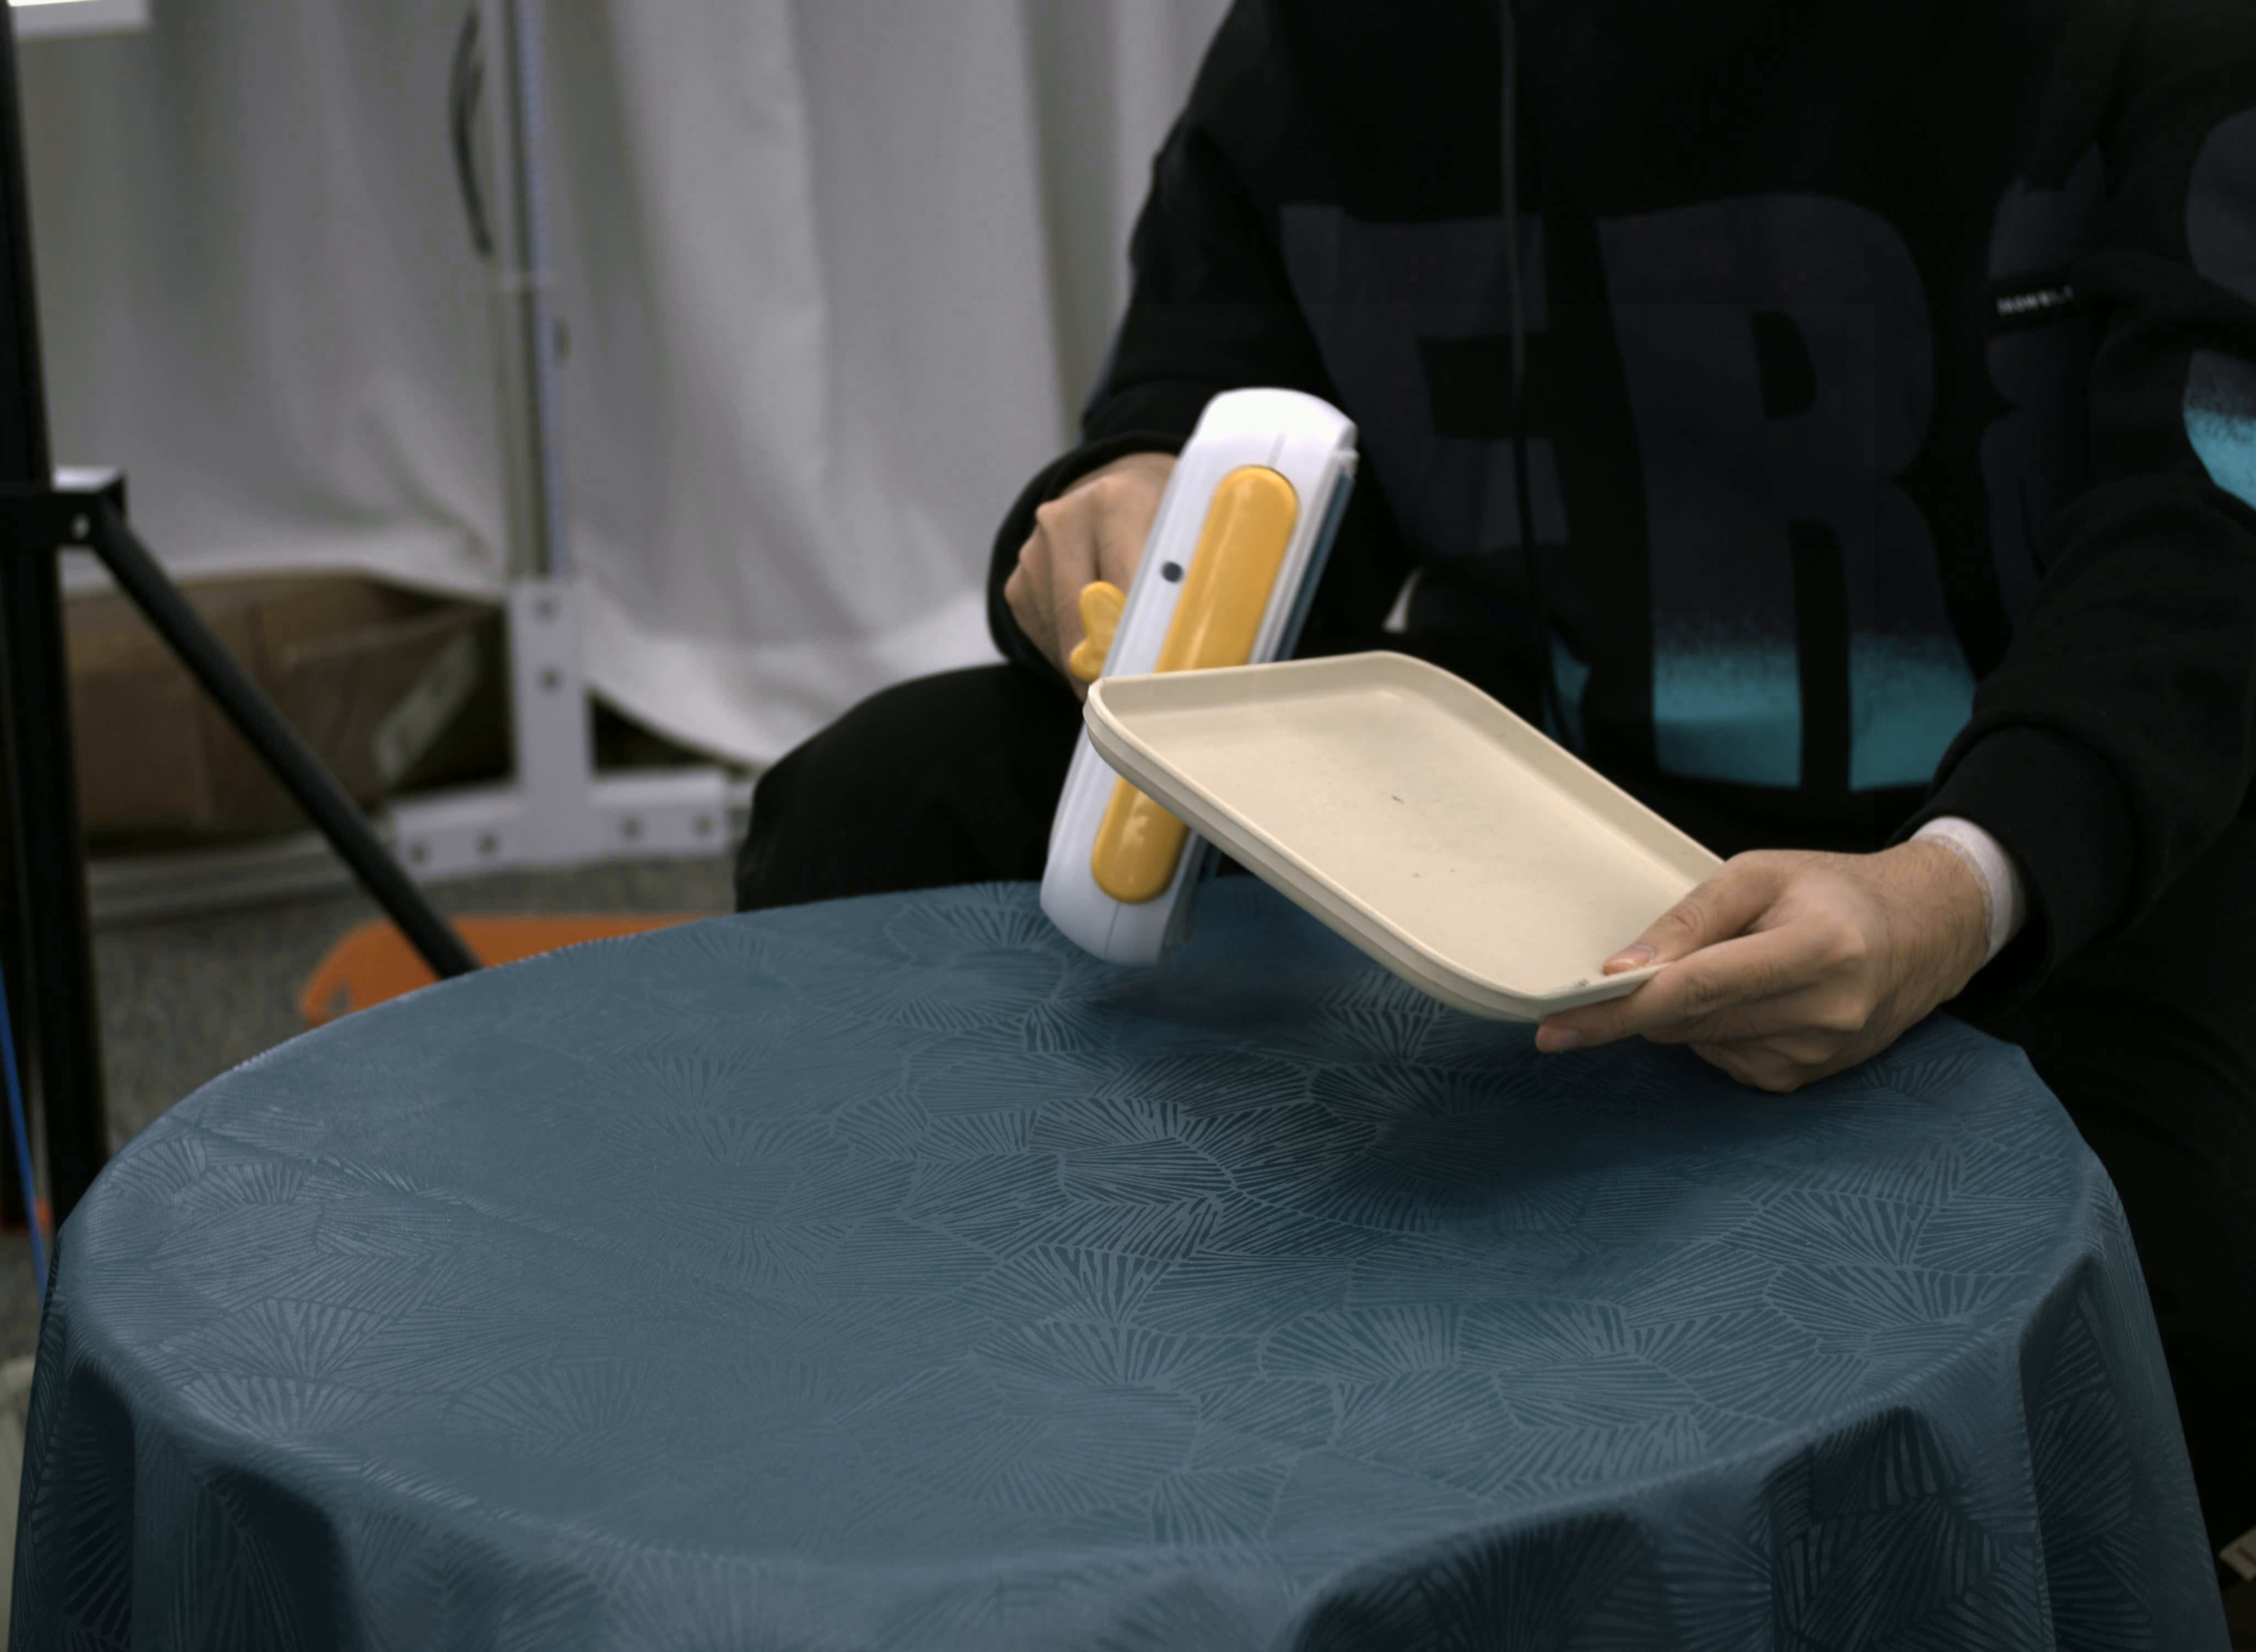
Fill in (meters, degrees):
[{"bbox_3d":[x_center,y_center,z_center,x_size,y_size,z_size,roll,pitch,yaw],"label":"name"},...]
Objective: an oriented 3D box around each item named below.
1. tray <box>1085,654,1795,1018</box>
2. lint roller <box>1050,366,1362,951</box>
[{"bbox_3d":[0.096,0.002,1.608,0.174,0.017,0.234,36,20,24],"label":"tray"},{"bbox_3d":[0.020,-0.060,1.770,0.074,0.193,0.192,15,5,-1],"label":"lint roller"}]
